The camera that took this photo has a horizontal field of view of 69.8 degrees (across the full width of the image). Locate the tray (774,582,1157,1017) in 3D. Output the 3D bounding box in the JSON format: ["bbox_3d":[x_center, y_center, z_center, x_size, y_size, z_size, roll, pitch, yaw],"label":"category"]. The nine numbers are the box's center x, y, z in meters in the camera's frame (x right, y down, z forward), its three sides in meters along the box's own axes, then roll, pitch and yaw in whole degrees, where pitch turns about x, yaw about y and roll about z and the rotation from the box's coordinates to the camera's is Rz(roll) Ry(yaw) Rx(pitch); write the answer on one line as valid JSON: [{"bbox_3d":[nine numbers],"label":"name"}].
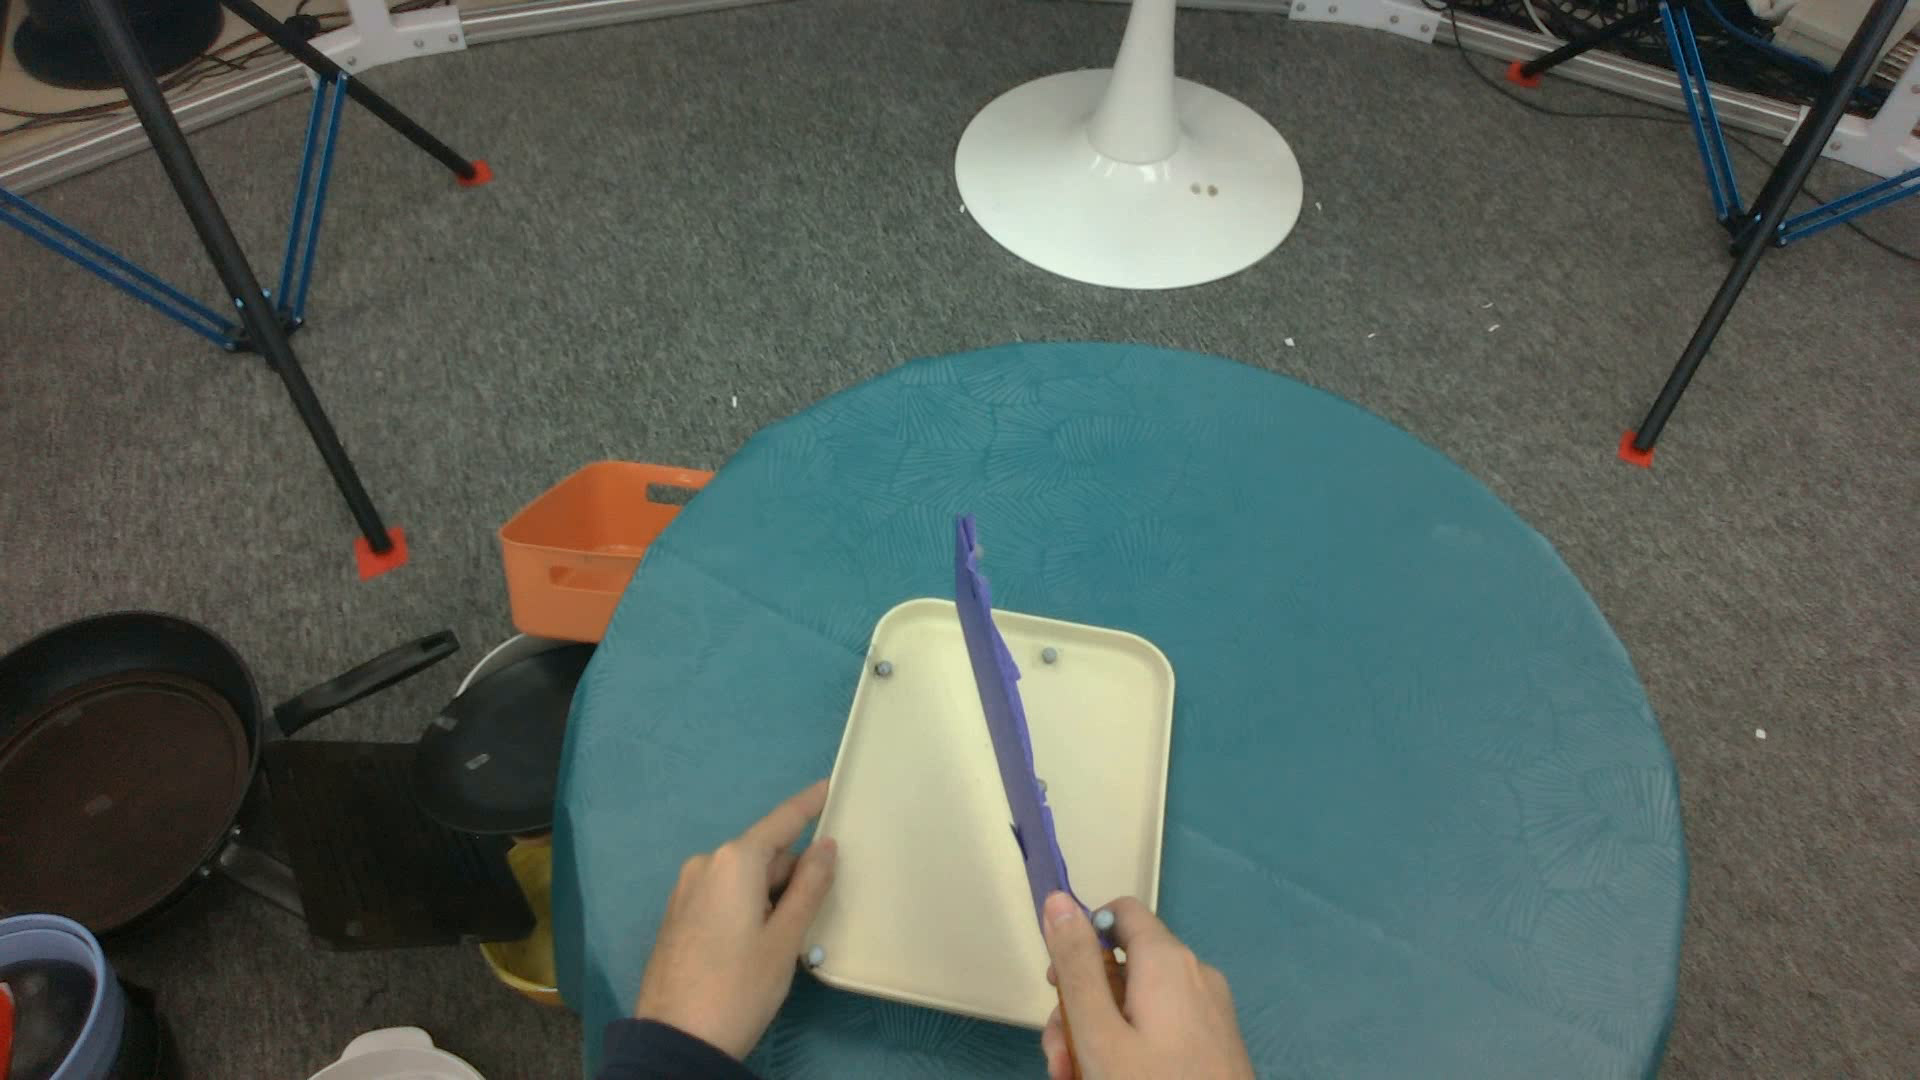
[{"bbox_3d":[0.011,0.124,0.705,0.171,0.017,0.241,12,46,2],"label":"tray"}]

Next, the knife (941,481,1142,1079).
[{"bbox_3d":[0.030,0.124,0.618,0.032,0.103,0.316,-9,56,-6],"label":"knife"}]
